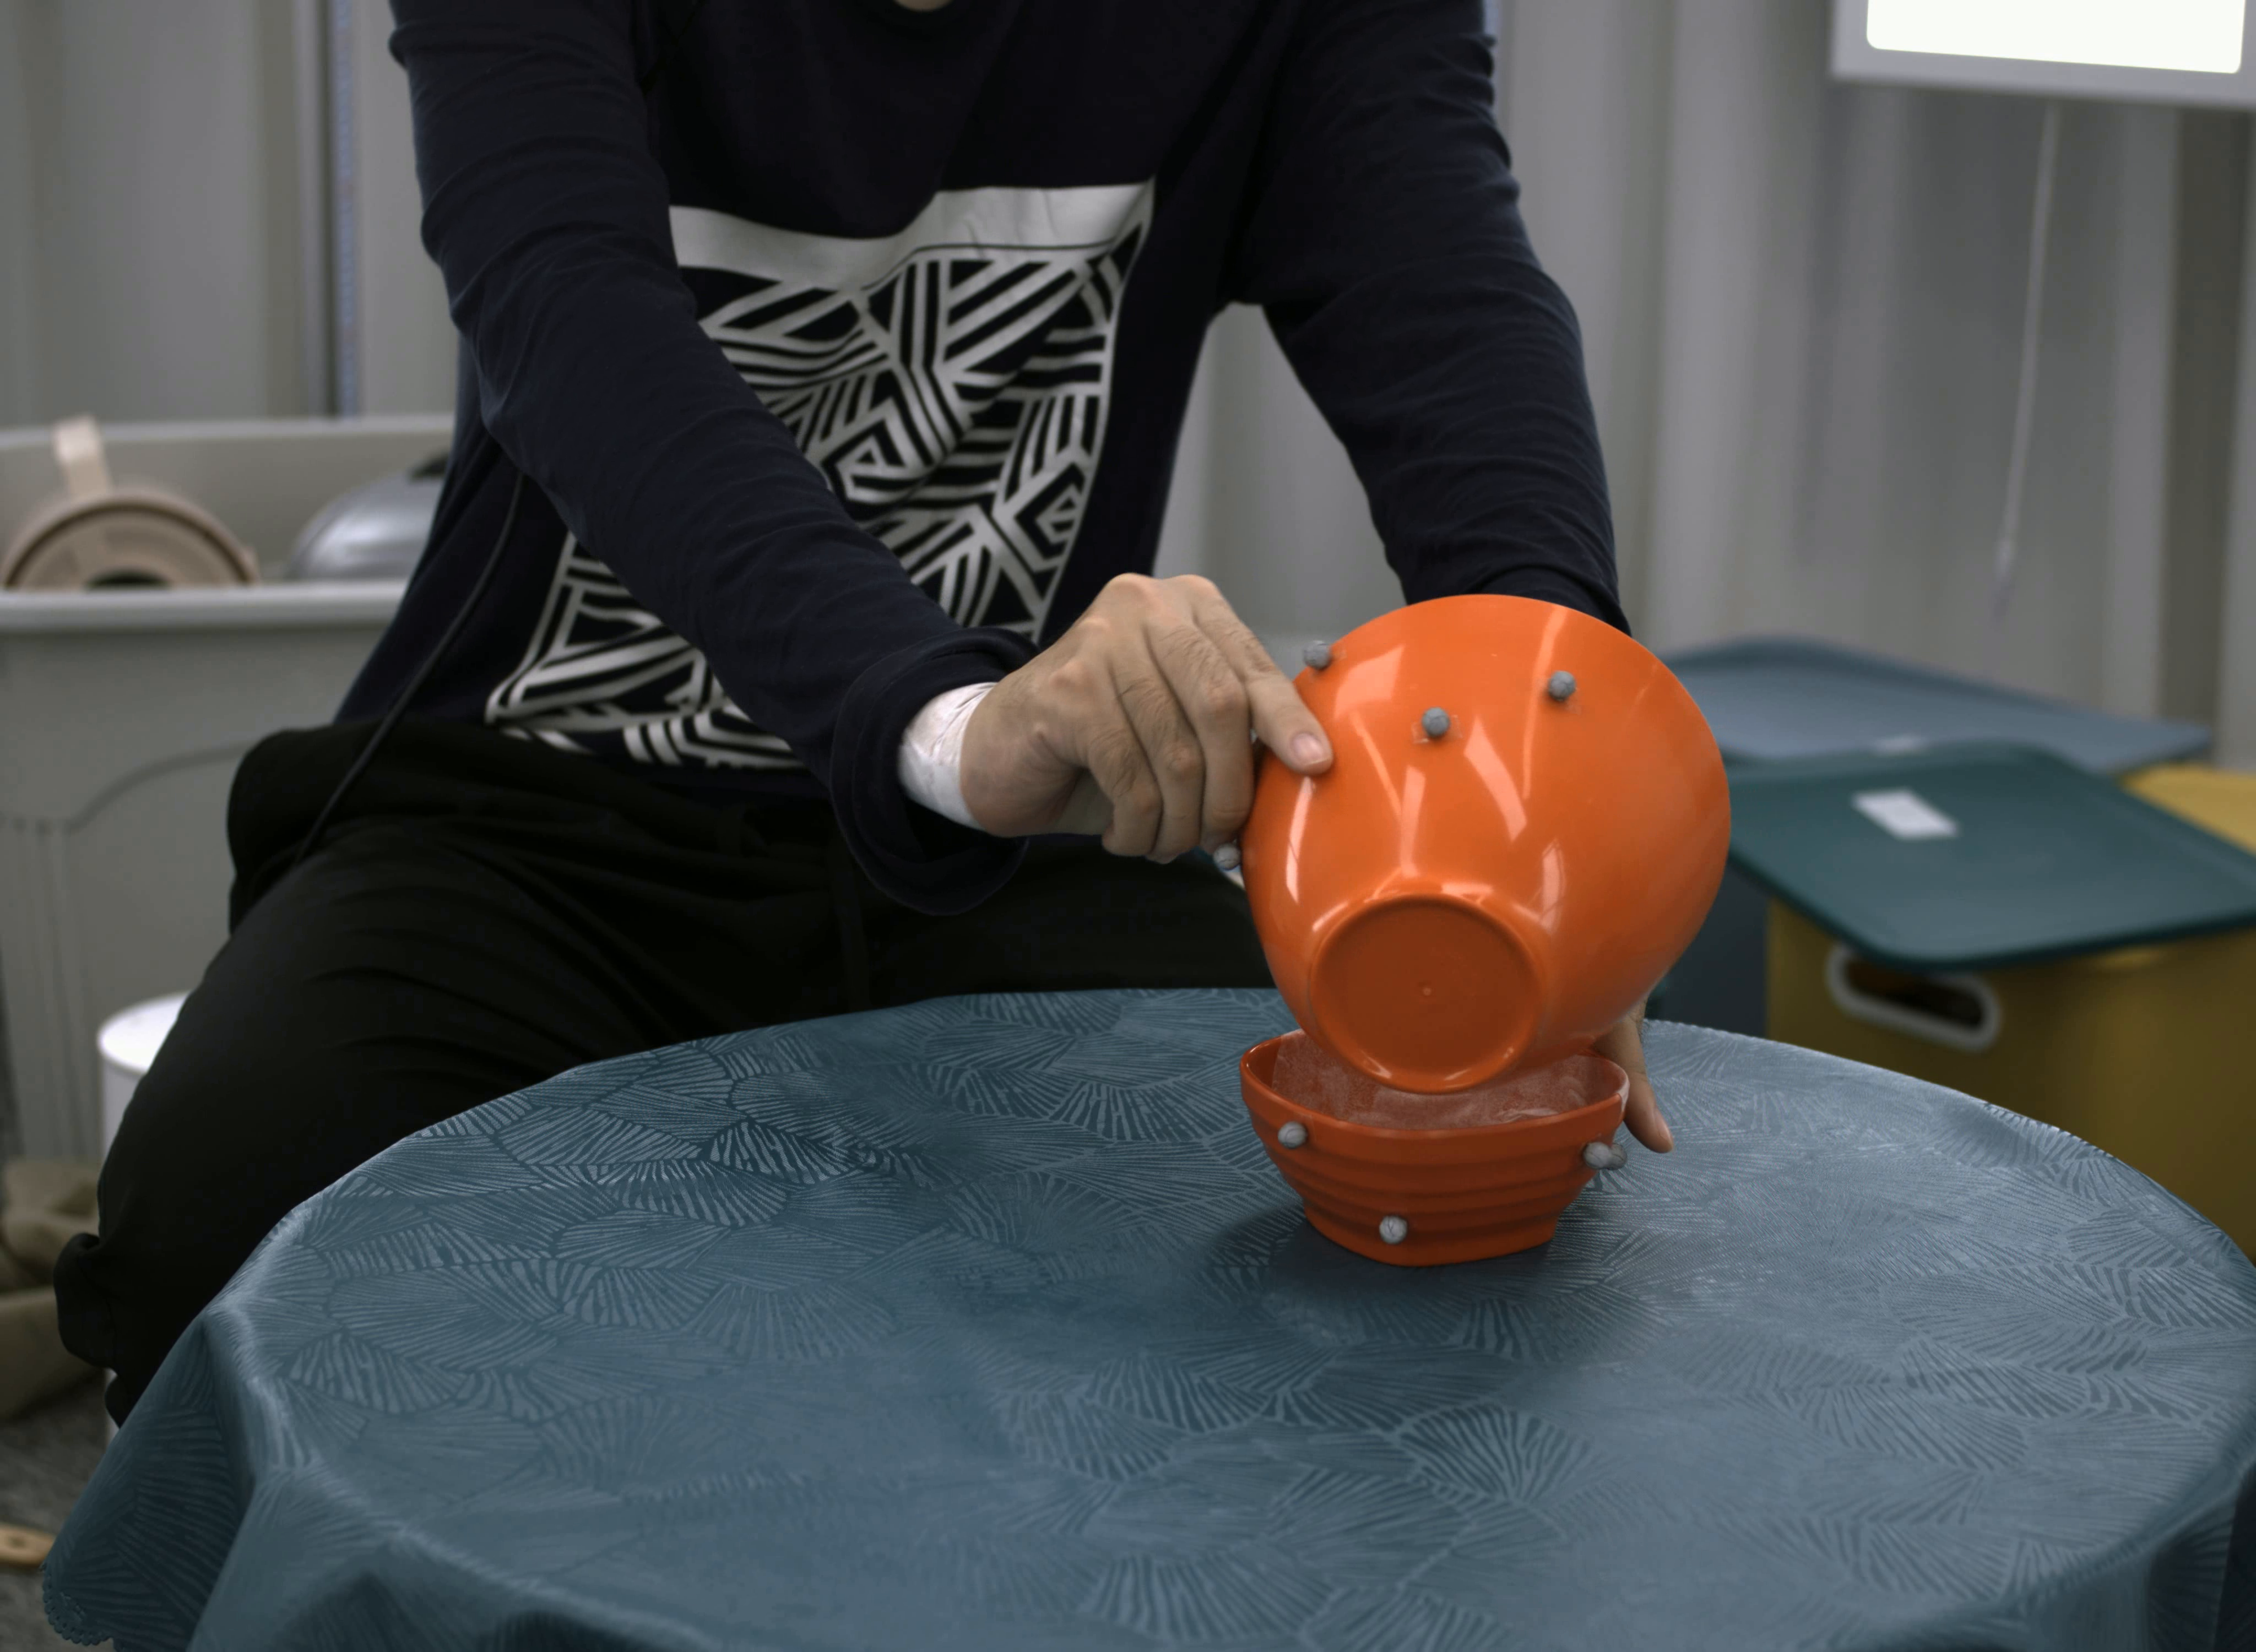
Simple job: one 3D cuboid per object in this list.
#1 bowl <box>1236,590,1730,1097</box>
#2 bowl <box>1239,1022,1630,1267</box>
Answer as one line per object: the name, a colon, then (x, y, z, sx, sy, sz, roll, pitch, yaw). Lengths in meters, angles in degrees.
bowl: (0.100, 0.018, 1.540, 0.147, 0.149, 0.104, 3, 28, 7)
bowl: (0.092, 0.095, 1.590, 0.118, 0.052, 0.118, -1, 18, 1)
